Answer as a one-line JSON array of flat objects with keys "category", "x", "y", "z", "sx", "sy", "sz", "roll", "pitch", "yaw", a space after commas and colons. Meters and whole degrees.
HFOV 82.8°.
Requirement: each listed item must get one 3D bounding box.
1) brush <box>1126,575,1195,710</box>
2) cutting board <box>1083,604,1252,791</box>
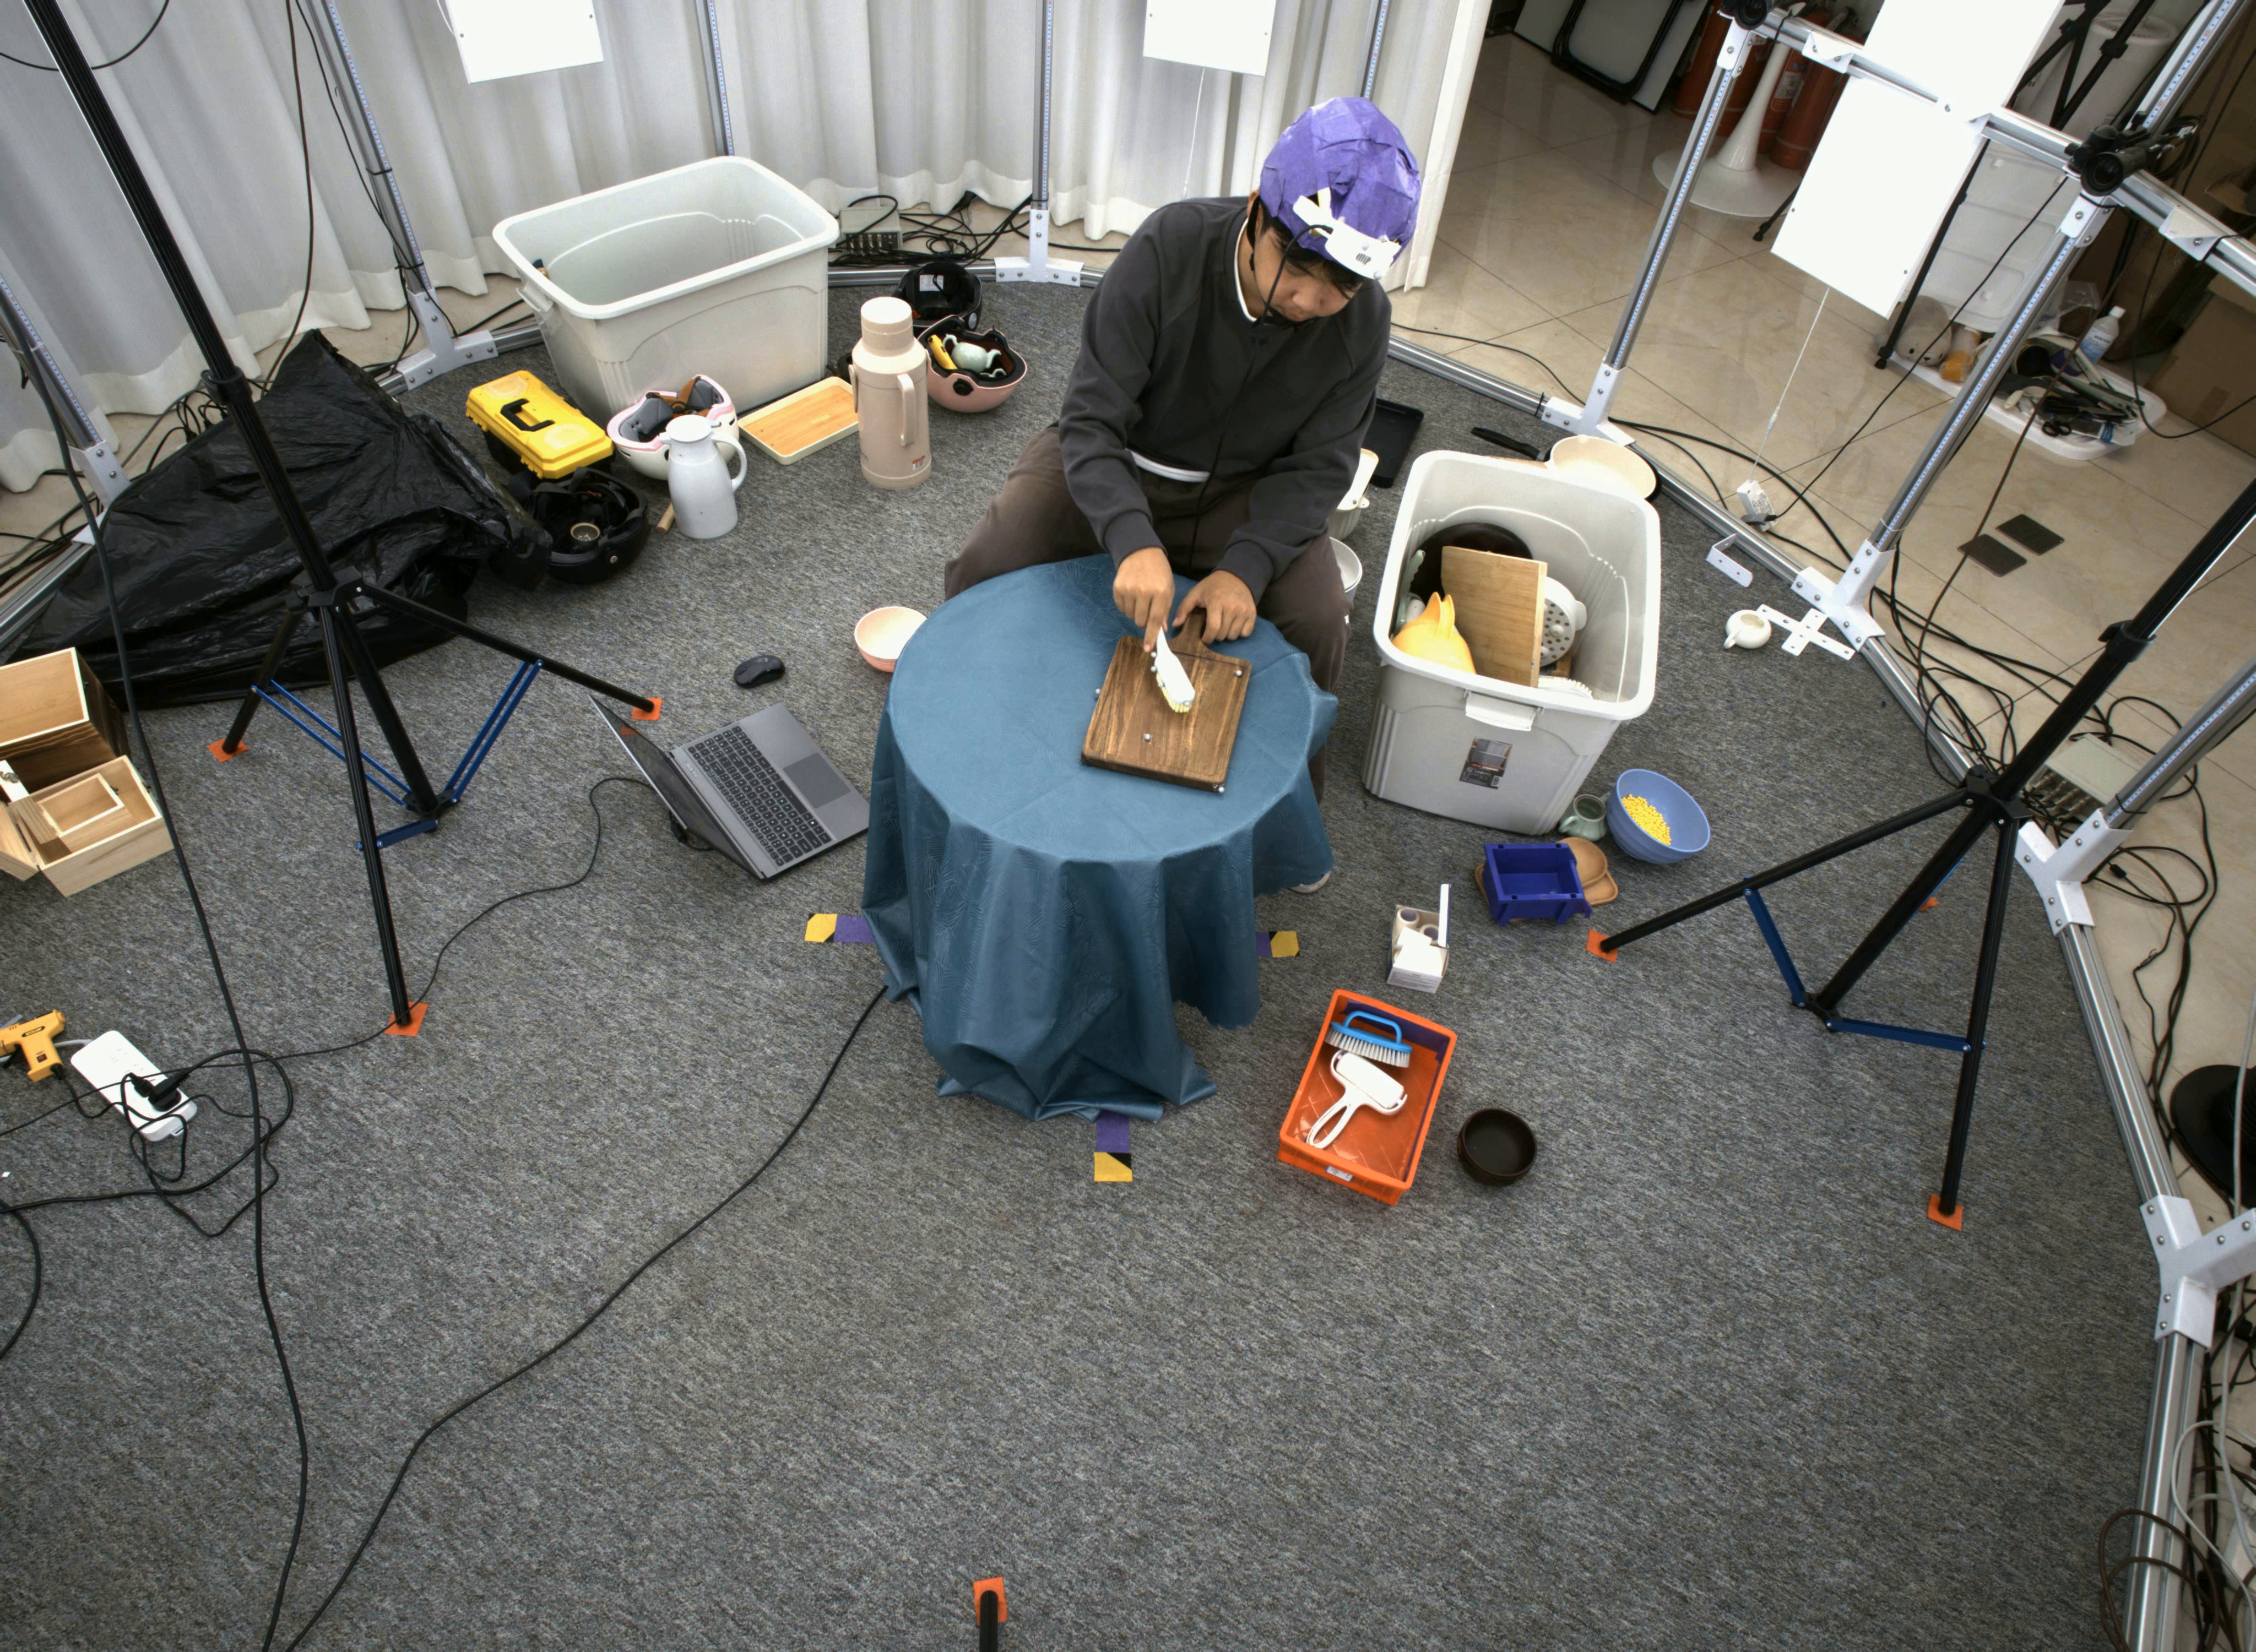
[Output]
[{"category": "brush", "x": 0.041, "y": -0.264, "z": 1.832, "sx": 0.038, "sy": 0.049, "sz": 0.233, "roll": -14, "pitch": 65, "yaw": -16}, {"category": "cutting board", "x": 0.071, "y": -0.200, "z": 1.830, "sx": 0.201, "sy": 0.022, "sz": 0.360, "roll": 12, "pitch": 49, "yaw": 6}]
